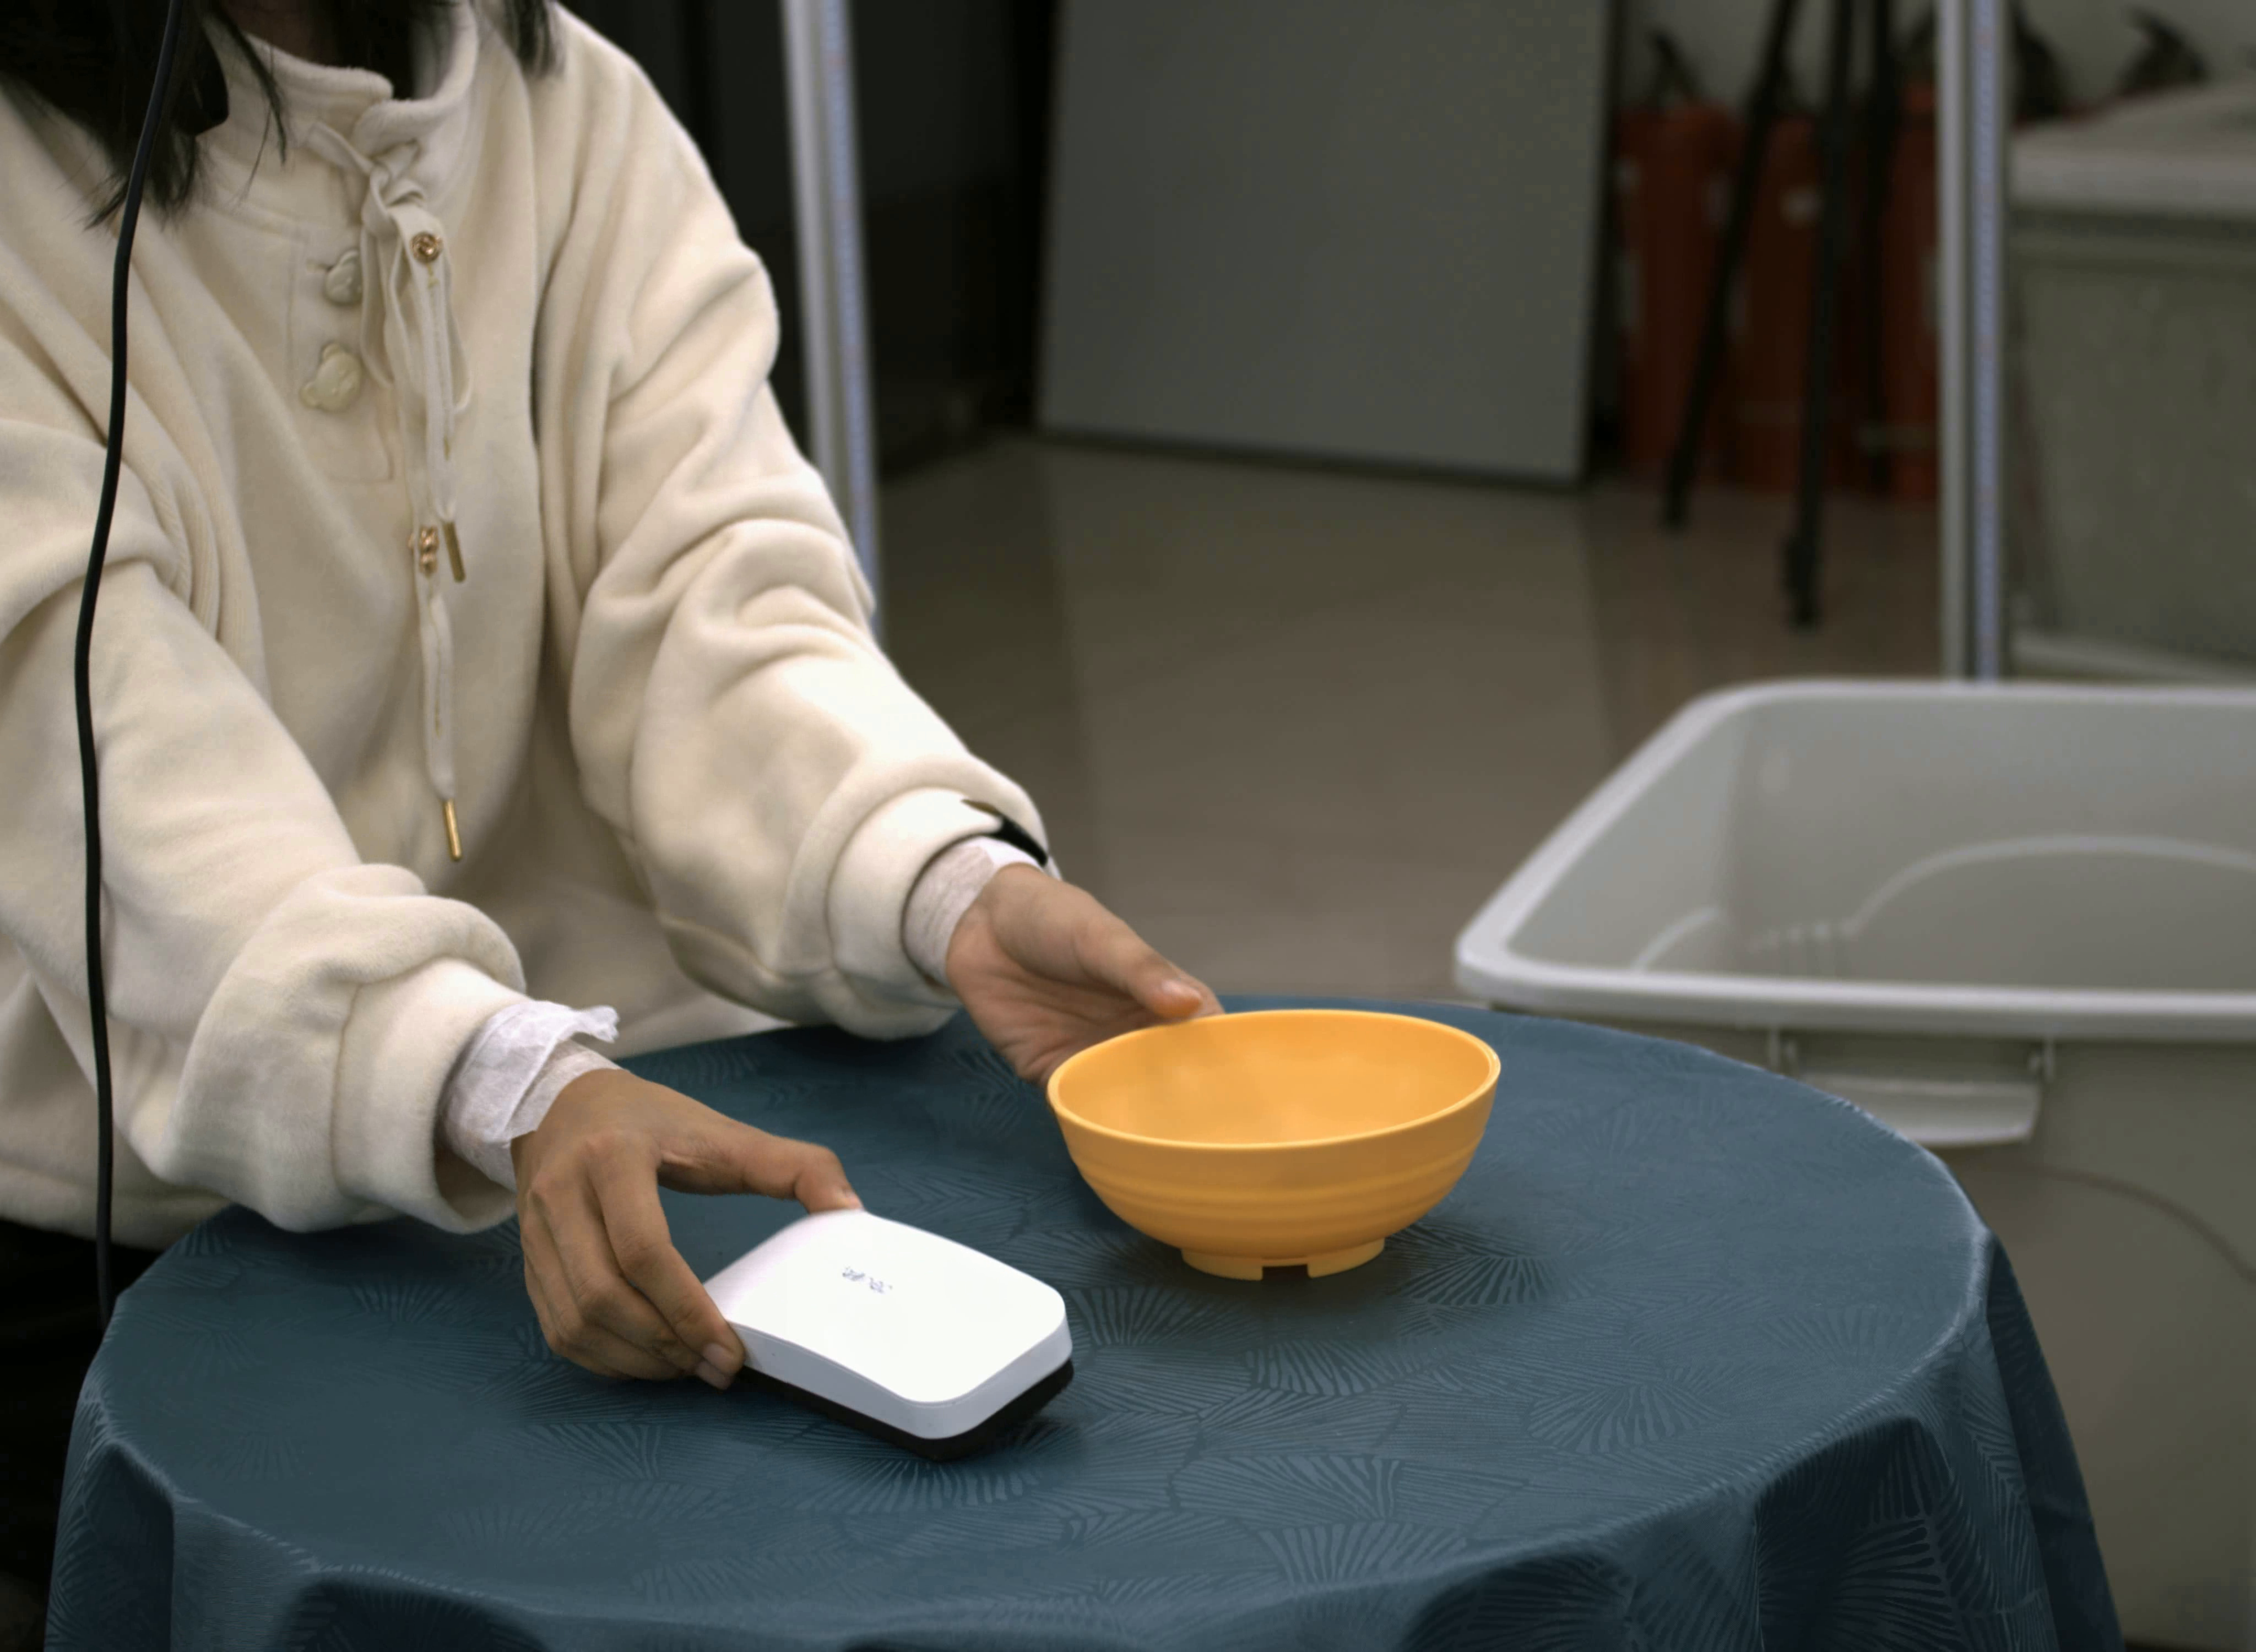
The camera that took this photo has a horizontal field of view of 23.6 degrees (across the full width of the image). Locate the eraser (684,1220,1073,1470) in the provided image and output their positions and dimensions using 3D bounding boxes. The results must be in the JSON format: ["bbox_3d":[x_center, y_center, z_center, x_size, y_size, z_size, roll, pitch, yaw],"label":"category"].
[{"bbox_3d":[-0.072,0.149,1.586,0.062,0.035,0.132,-29,27,-32],"label":"eraser"}]

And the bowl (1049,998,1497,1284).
[{"bbox_3d":[0.047,0.105,1.699,0.143,0.061,0.145,-4,16,0],"label":"bowl"}]
